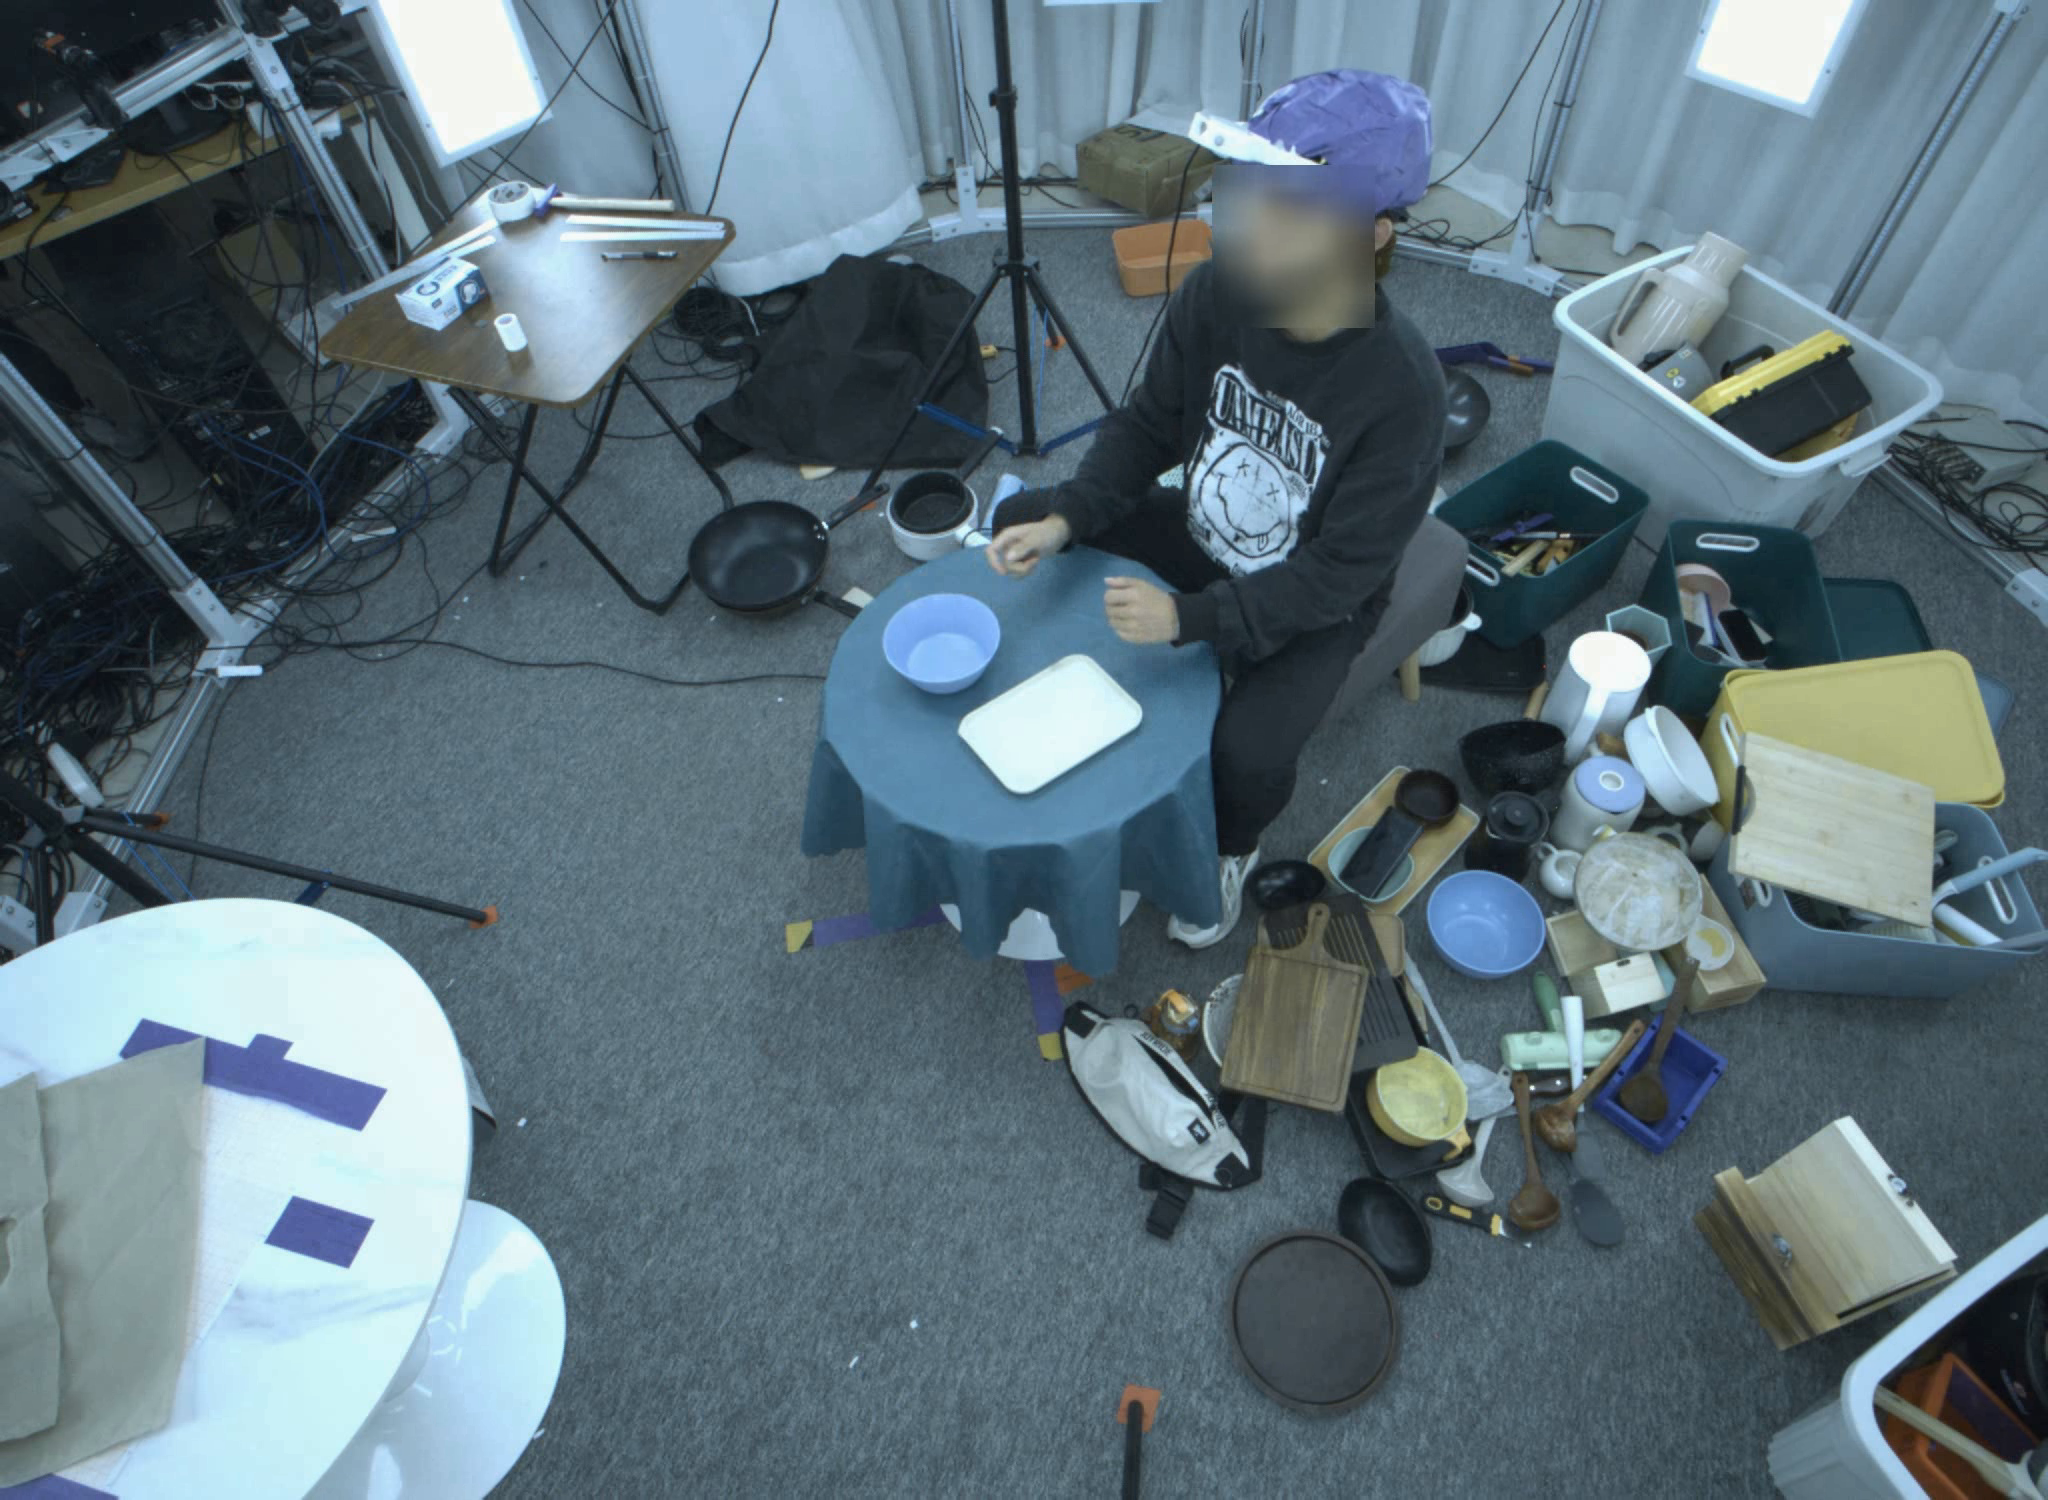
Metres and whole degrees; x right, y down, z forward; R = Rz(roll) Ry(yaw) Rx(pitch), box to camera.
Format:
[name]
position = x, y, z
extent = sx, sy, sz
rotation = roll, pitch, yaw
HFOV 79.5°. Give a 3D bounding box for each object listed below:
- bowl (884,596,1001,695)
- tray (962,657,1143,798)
[bowl]
position = -0.121, -0.149, 1.862
extent = 0.176, 0.071, 0.174
rotation = 0, 56, 1
[tray]
position = 0.042, -0.035, 1.810
extent = 0.241, 0.017, 0.168
rotation = -31, 60, -19
